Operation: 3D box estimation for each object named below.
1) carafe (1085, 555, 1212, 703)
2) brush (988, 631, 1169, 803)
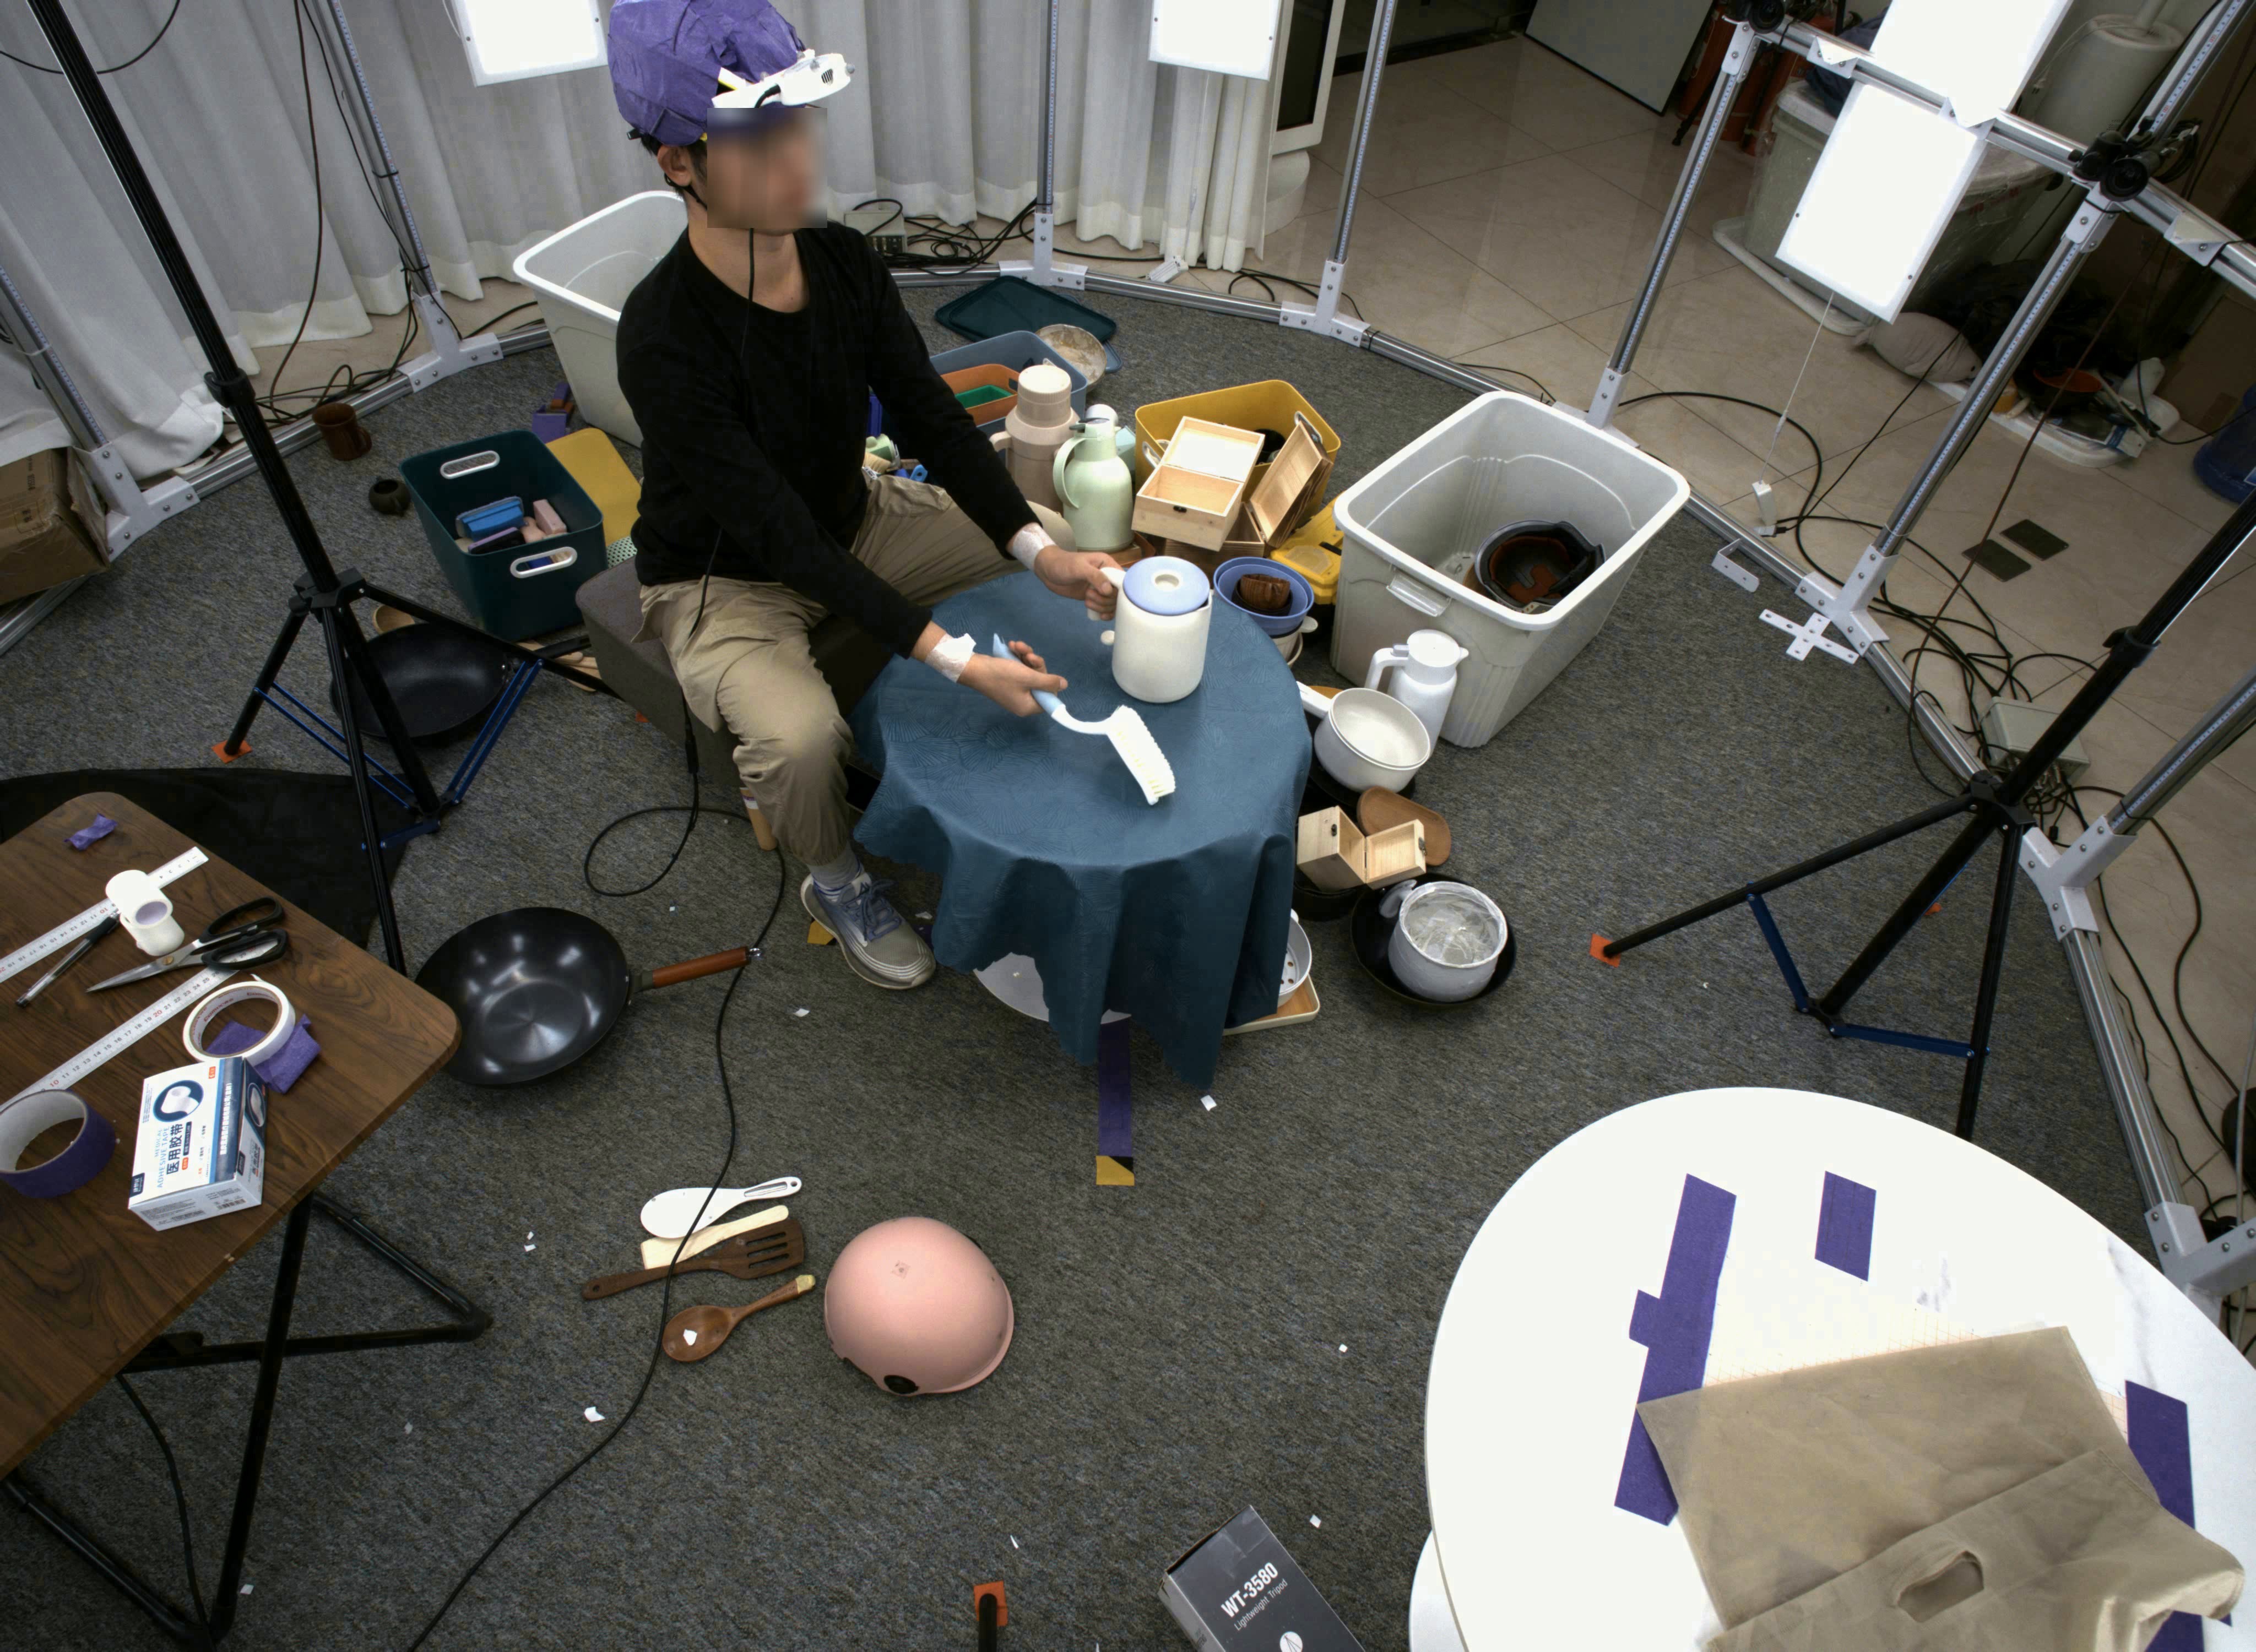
[{"bbox_3d":[0.025,-0.286,1.809,0.192,0.178,0.134,25,52,18],"label":"carafe"},{"bbox_3d":[-0.056,-0.168,1.711,0.085,0.081,0.328,-37,77,-29],"label":"brush"}]
